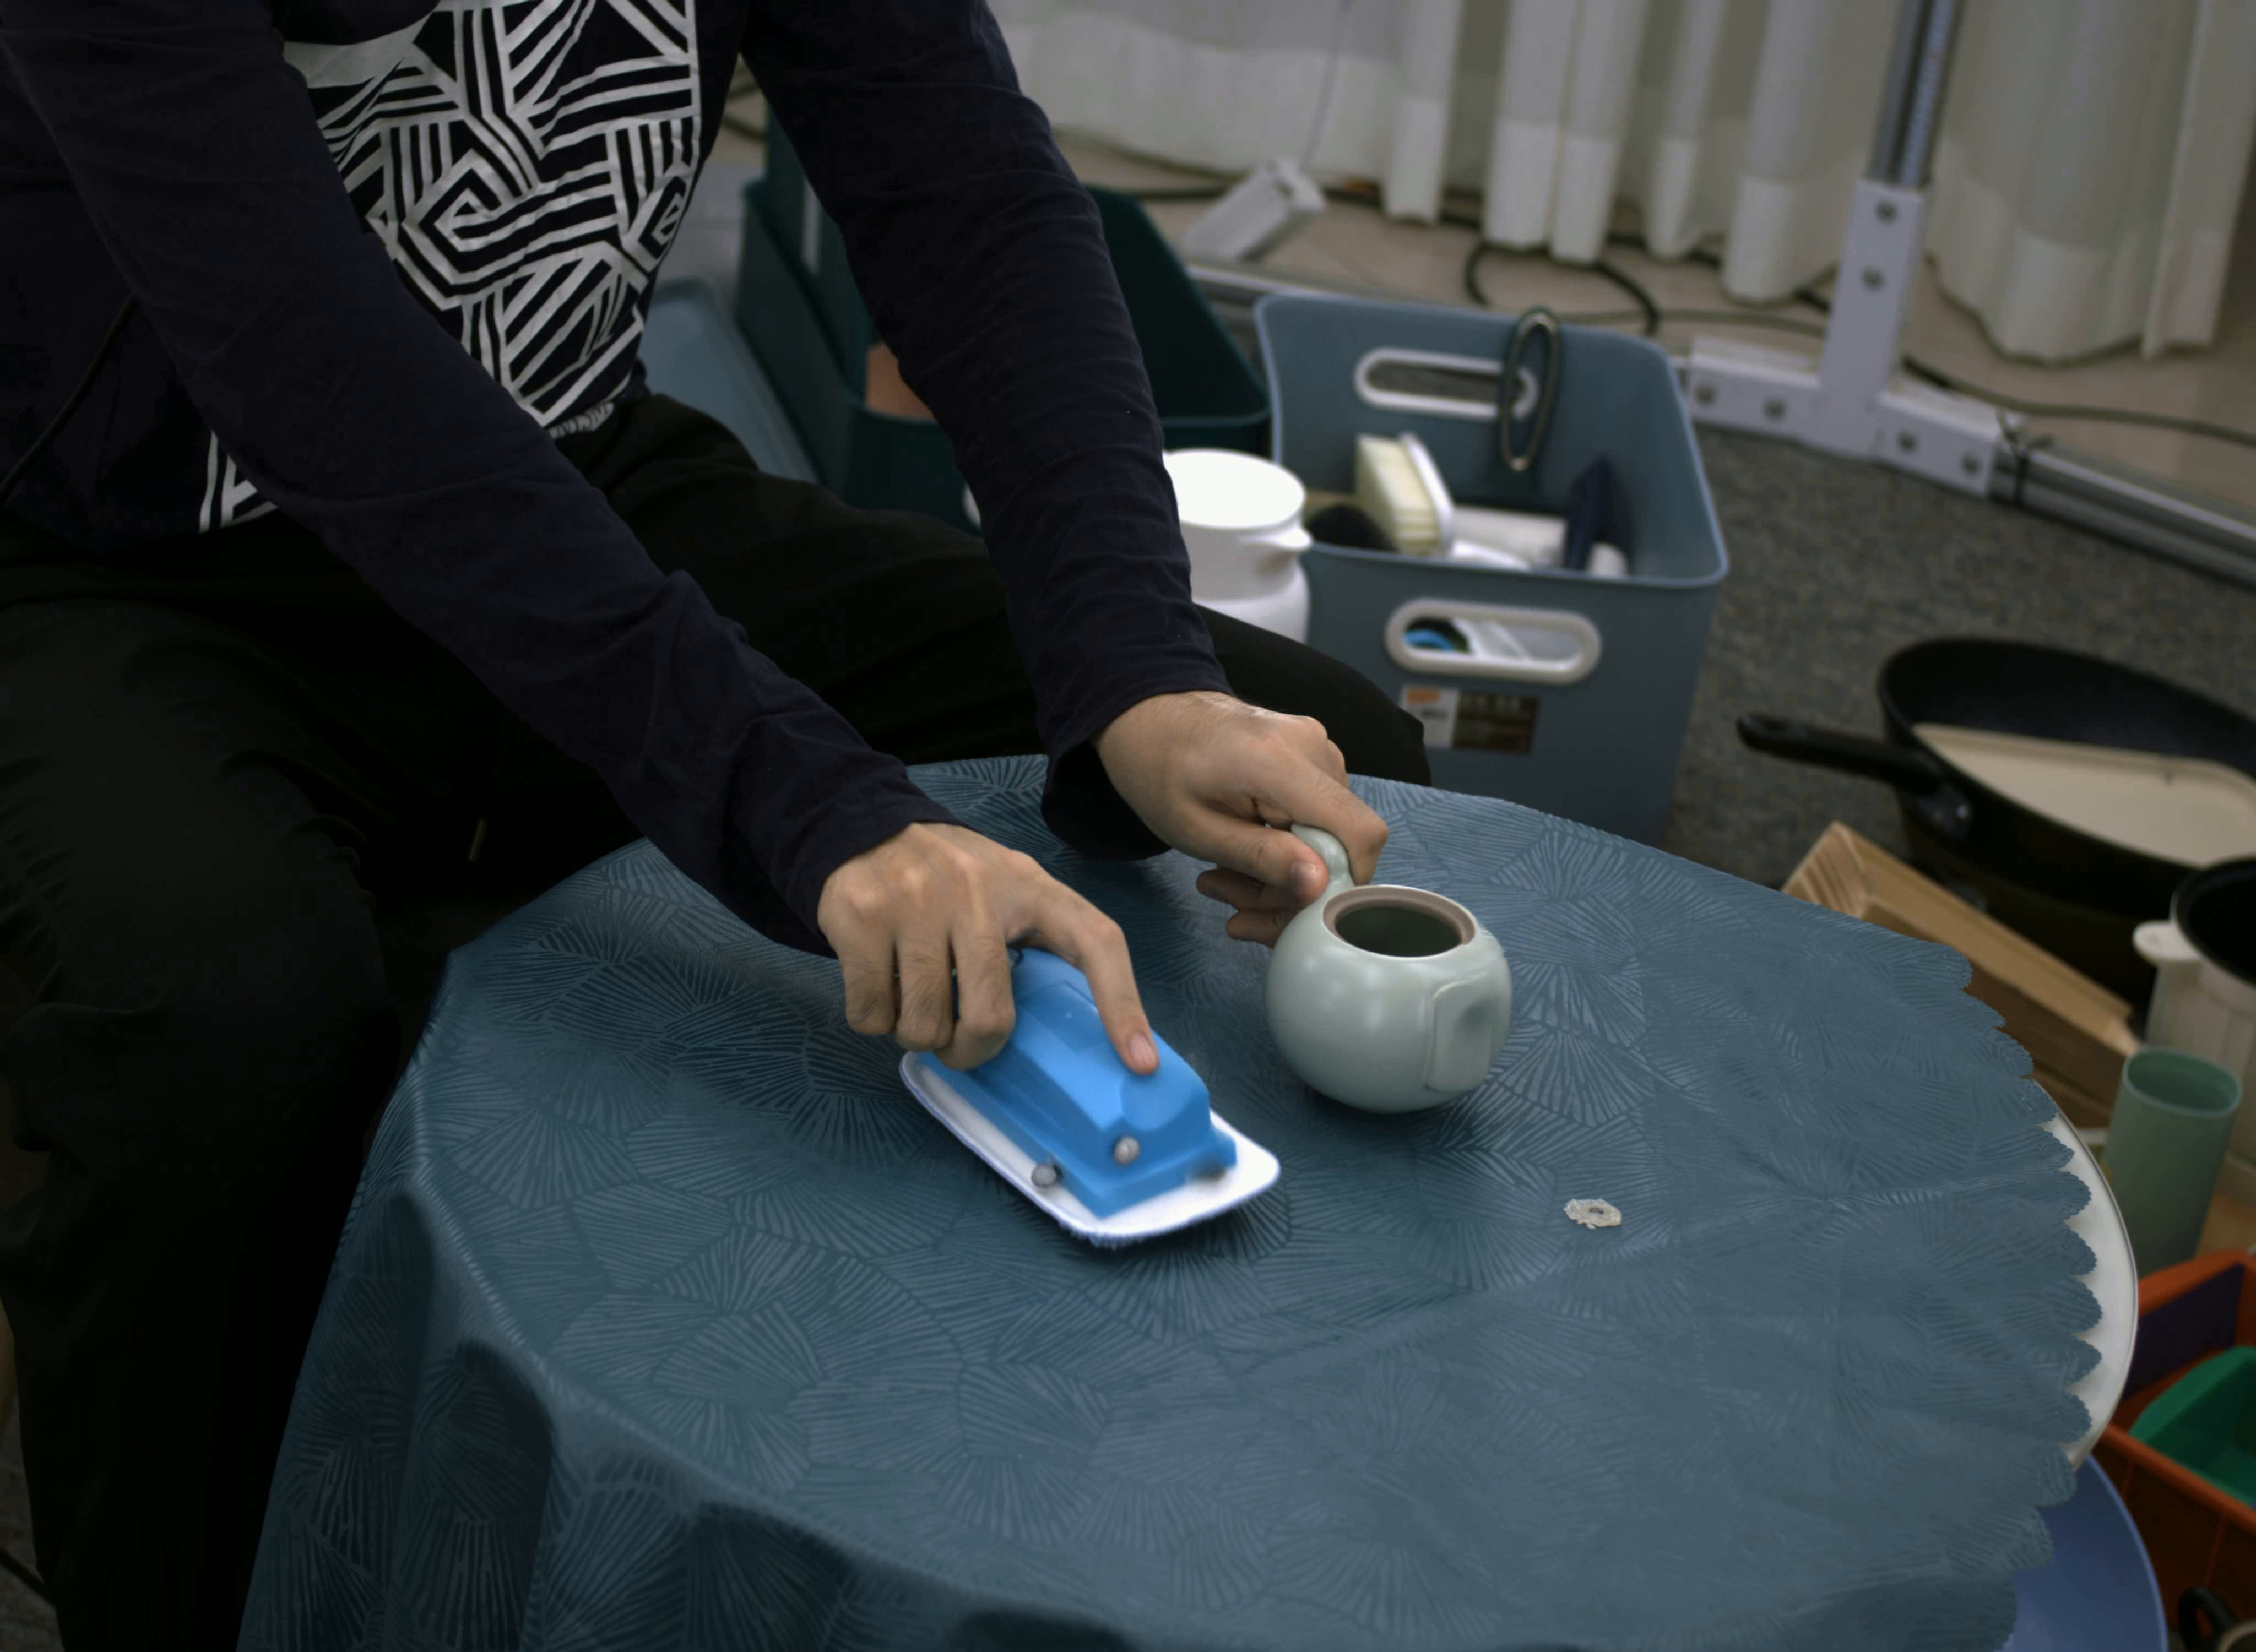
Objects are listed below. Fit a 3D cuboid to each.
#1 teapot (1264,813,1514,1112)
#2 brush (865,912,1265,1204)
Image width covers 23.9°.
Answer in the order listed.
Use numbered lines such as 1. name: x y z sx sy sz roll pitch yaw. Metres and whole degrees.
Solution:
1. teapot: 0.092 0.059 1.873 0.088 0.074 0.145 -8 33 -25
2. brush: -0.020 0.075 1.805 0.083 0.056 0.145 -16 38 -37
